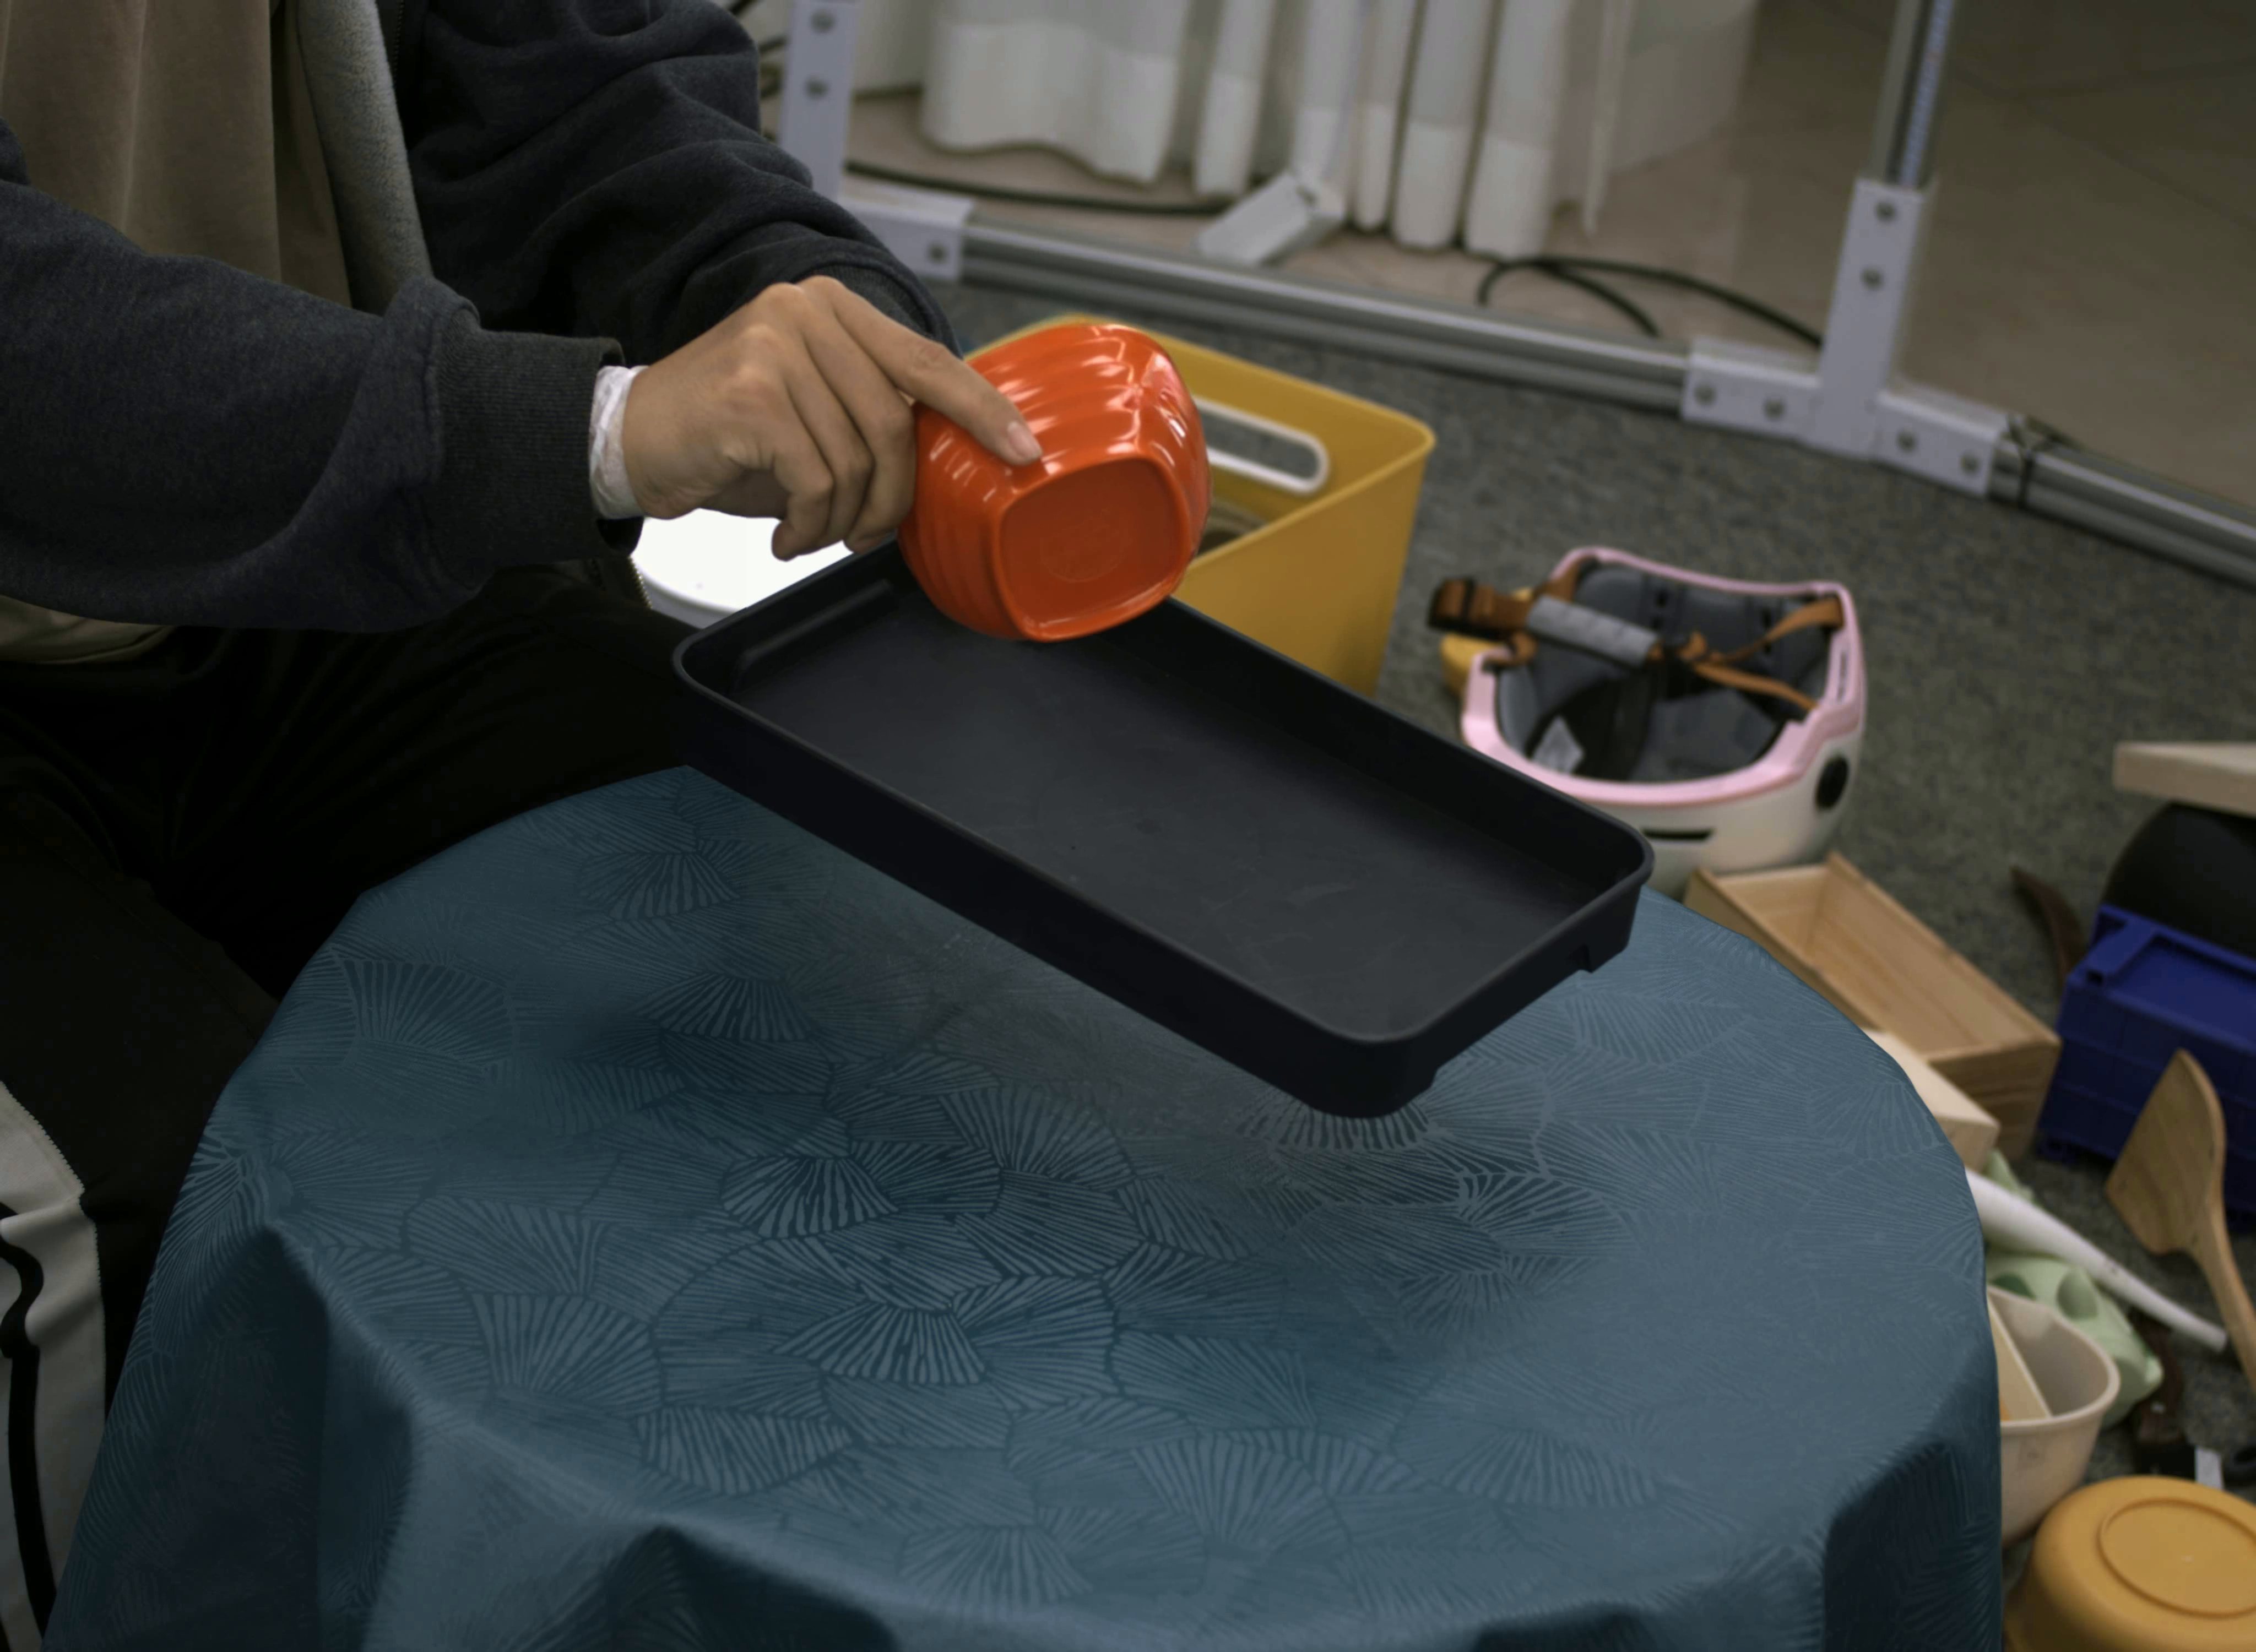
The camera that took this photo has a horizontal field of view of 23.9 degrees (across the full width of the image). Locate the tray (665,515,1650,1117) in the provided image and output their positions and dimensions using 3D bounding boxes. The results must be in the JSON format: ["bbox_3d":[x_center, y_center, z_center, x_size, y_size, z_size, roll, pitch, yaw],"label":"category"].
[{"bbox_3d":[0.007,-0.013,1.845,0.320,0.037,0.184,29,37,27],"label":"tray"}]

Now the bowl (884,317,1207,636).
[{"bbox_3d":[-0.021,-0.106,1.763,0.118,0.118,0.052,-3,37,-20],"label":"bowl"}]
